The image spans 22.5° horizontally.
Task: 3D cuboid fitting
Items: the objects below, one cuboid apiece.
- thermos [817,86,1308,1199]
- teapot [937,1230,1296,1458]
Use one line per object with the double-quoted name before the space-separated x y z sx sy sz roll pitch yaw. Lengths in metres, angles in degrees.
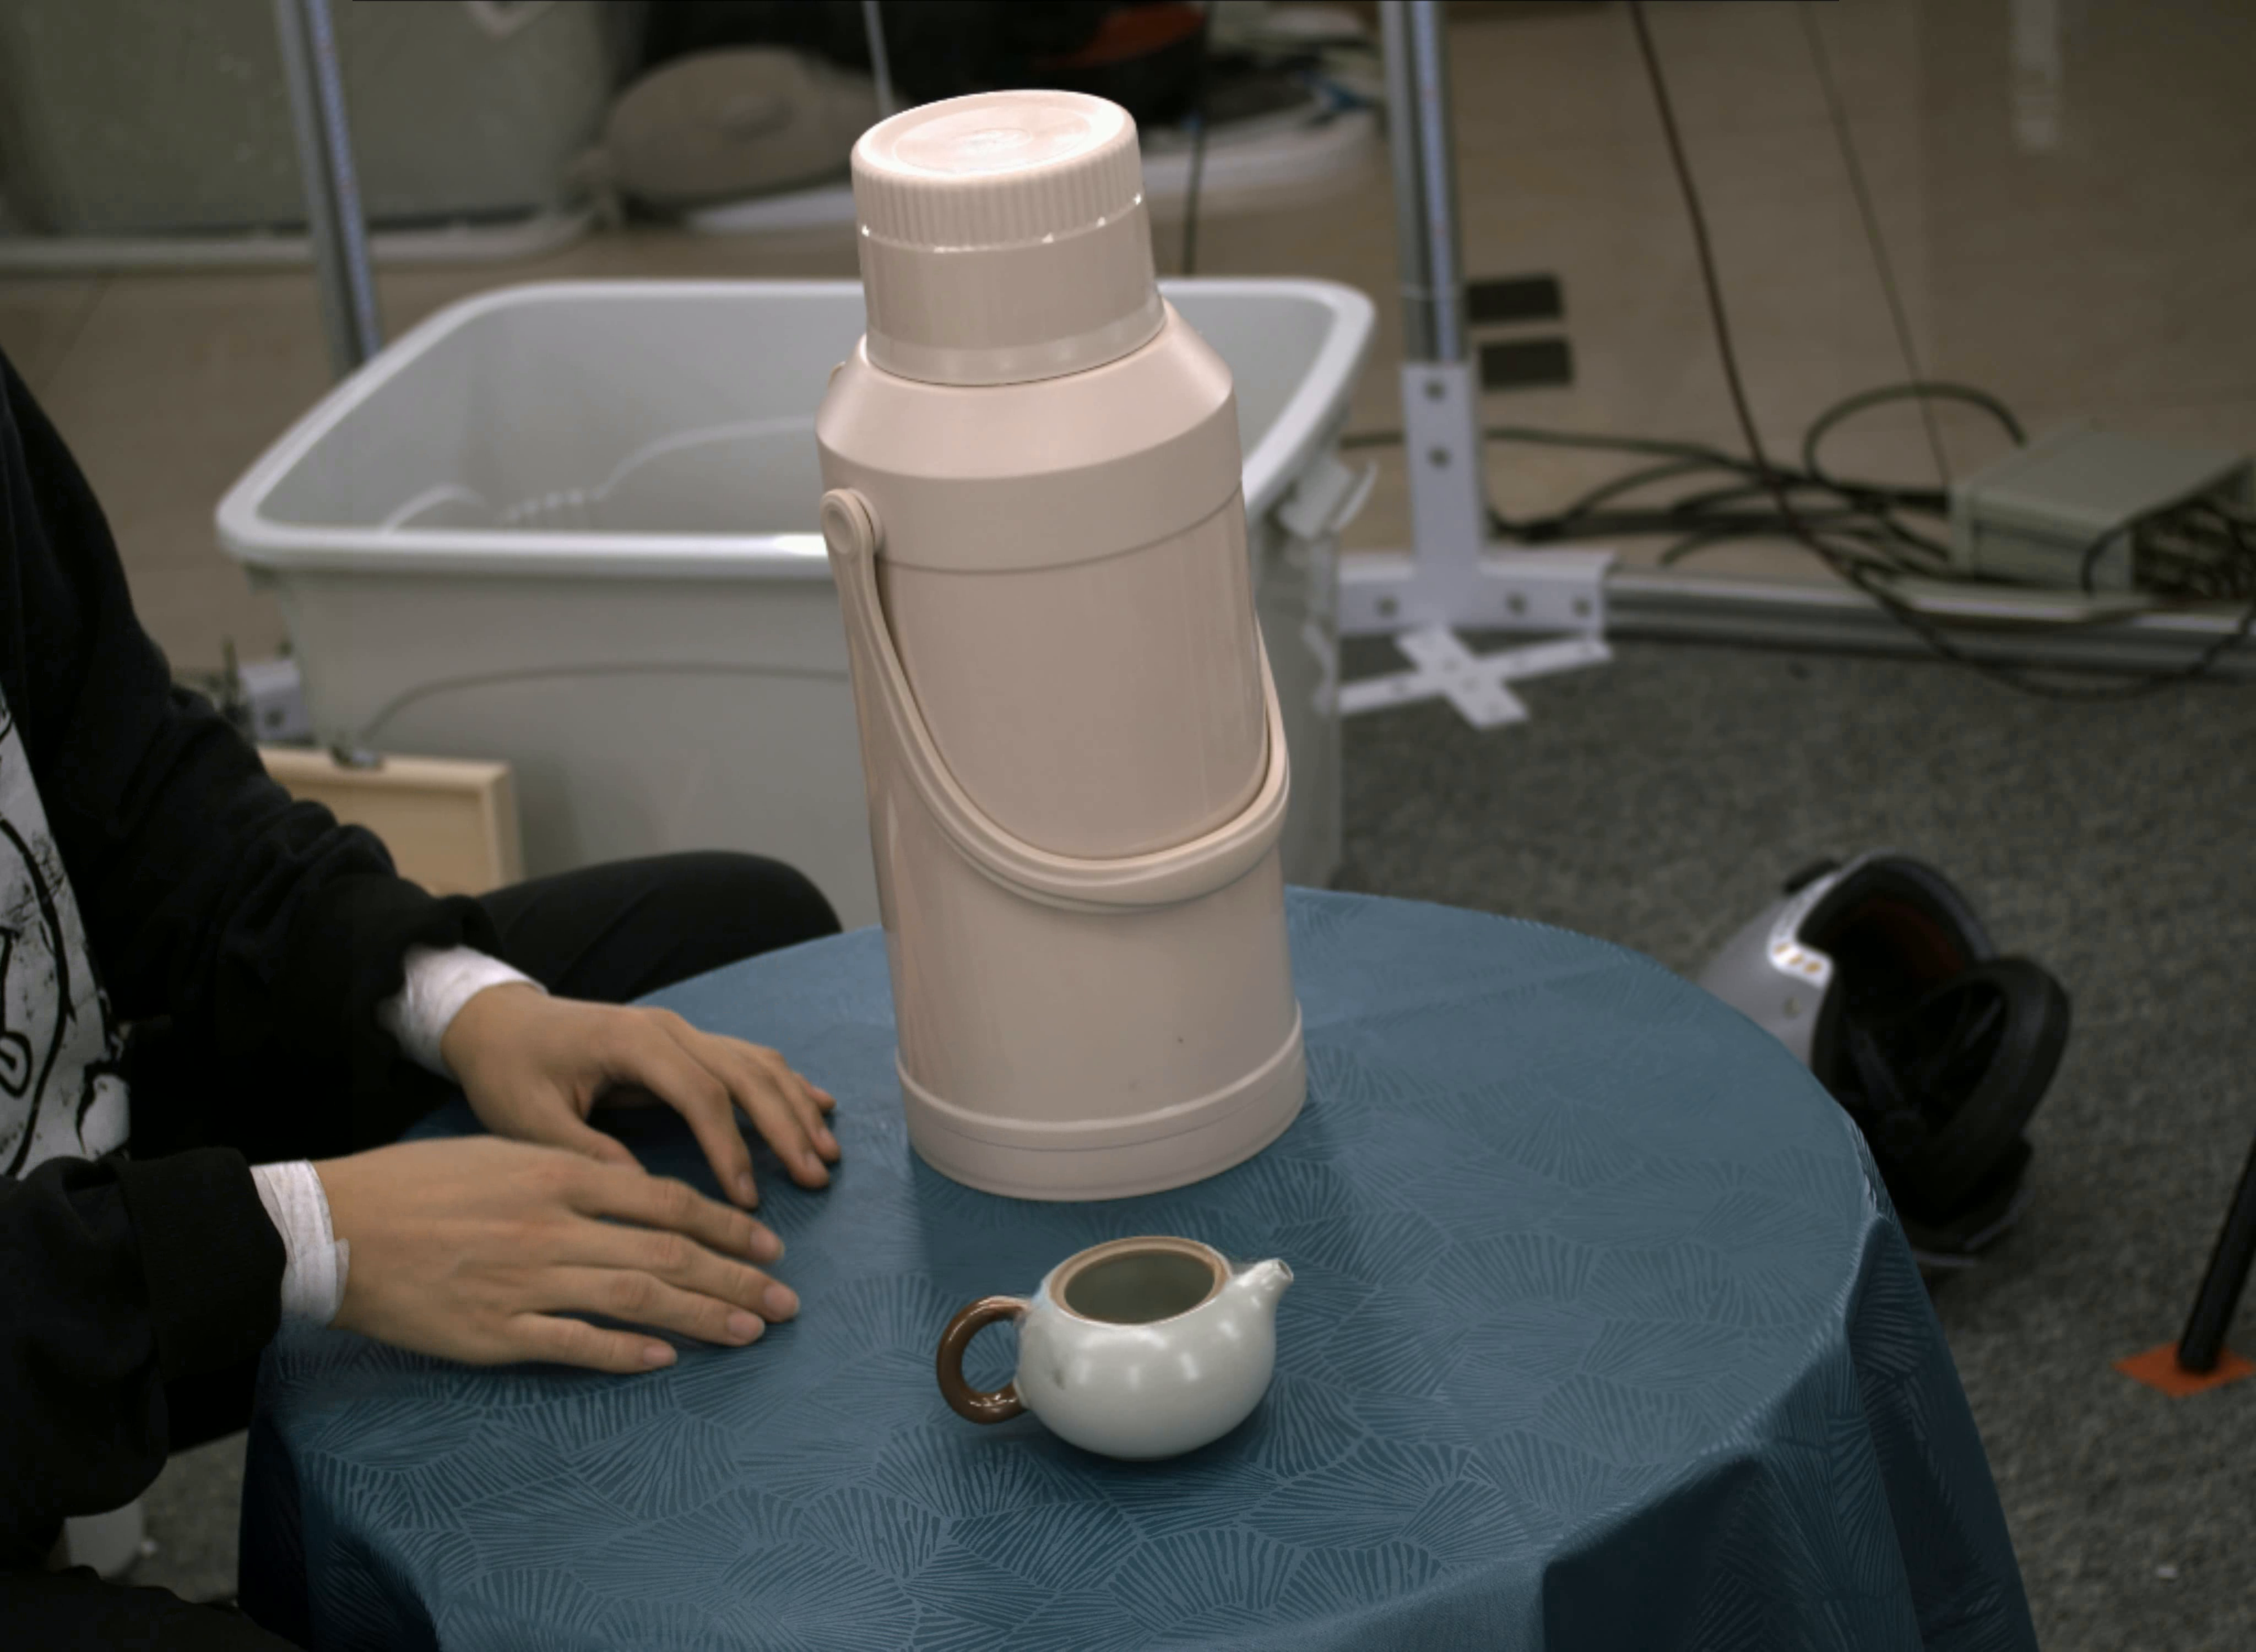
"thermos" -0.036 -0.074 2.140 0.174 0.413 0.205 -25 32 -31
"teapot" -0.003 0.183 1.985 0.128 0.060 0.090 -6 30 -3
